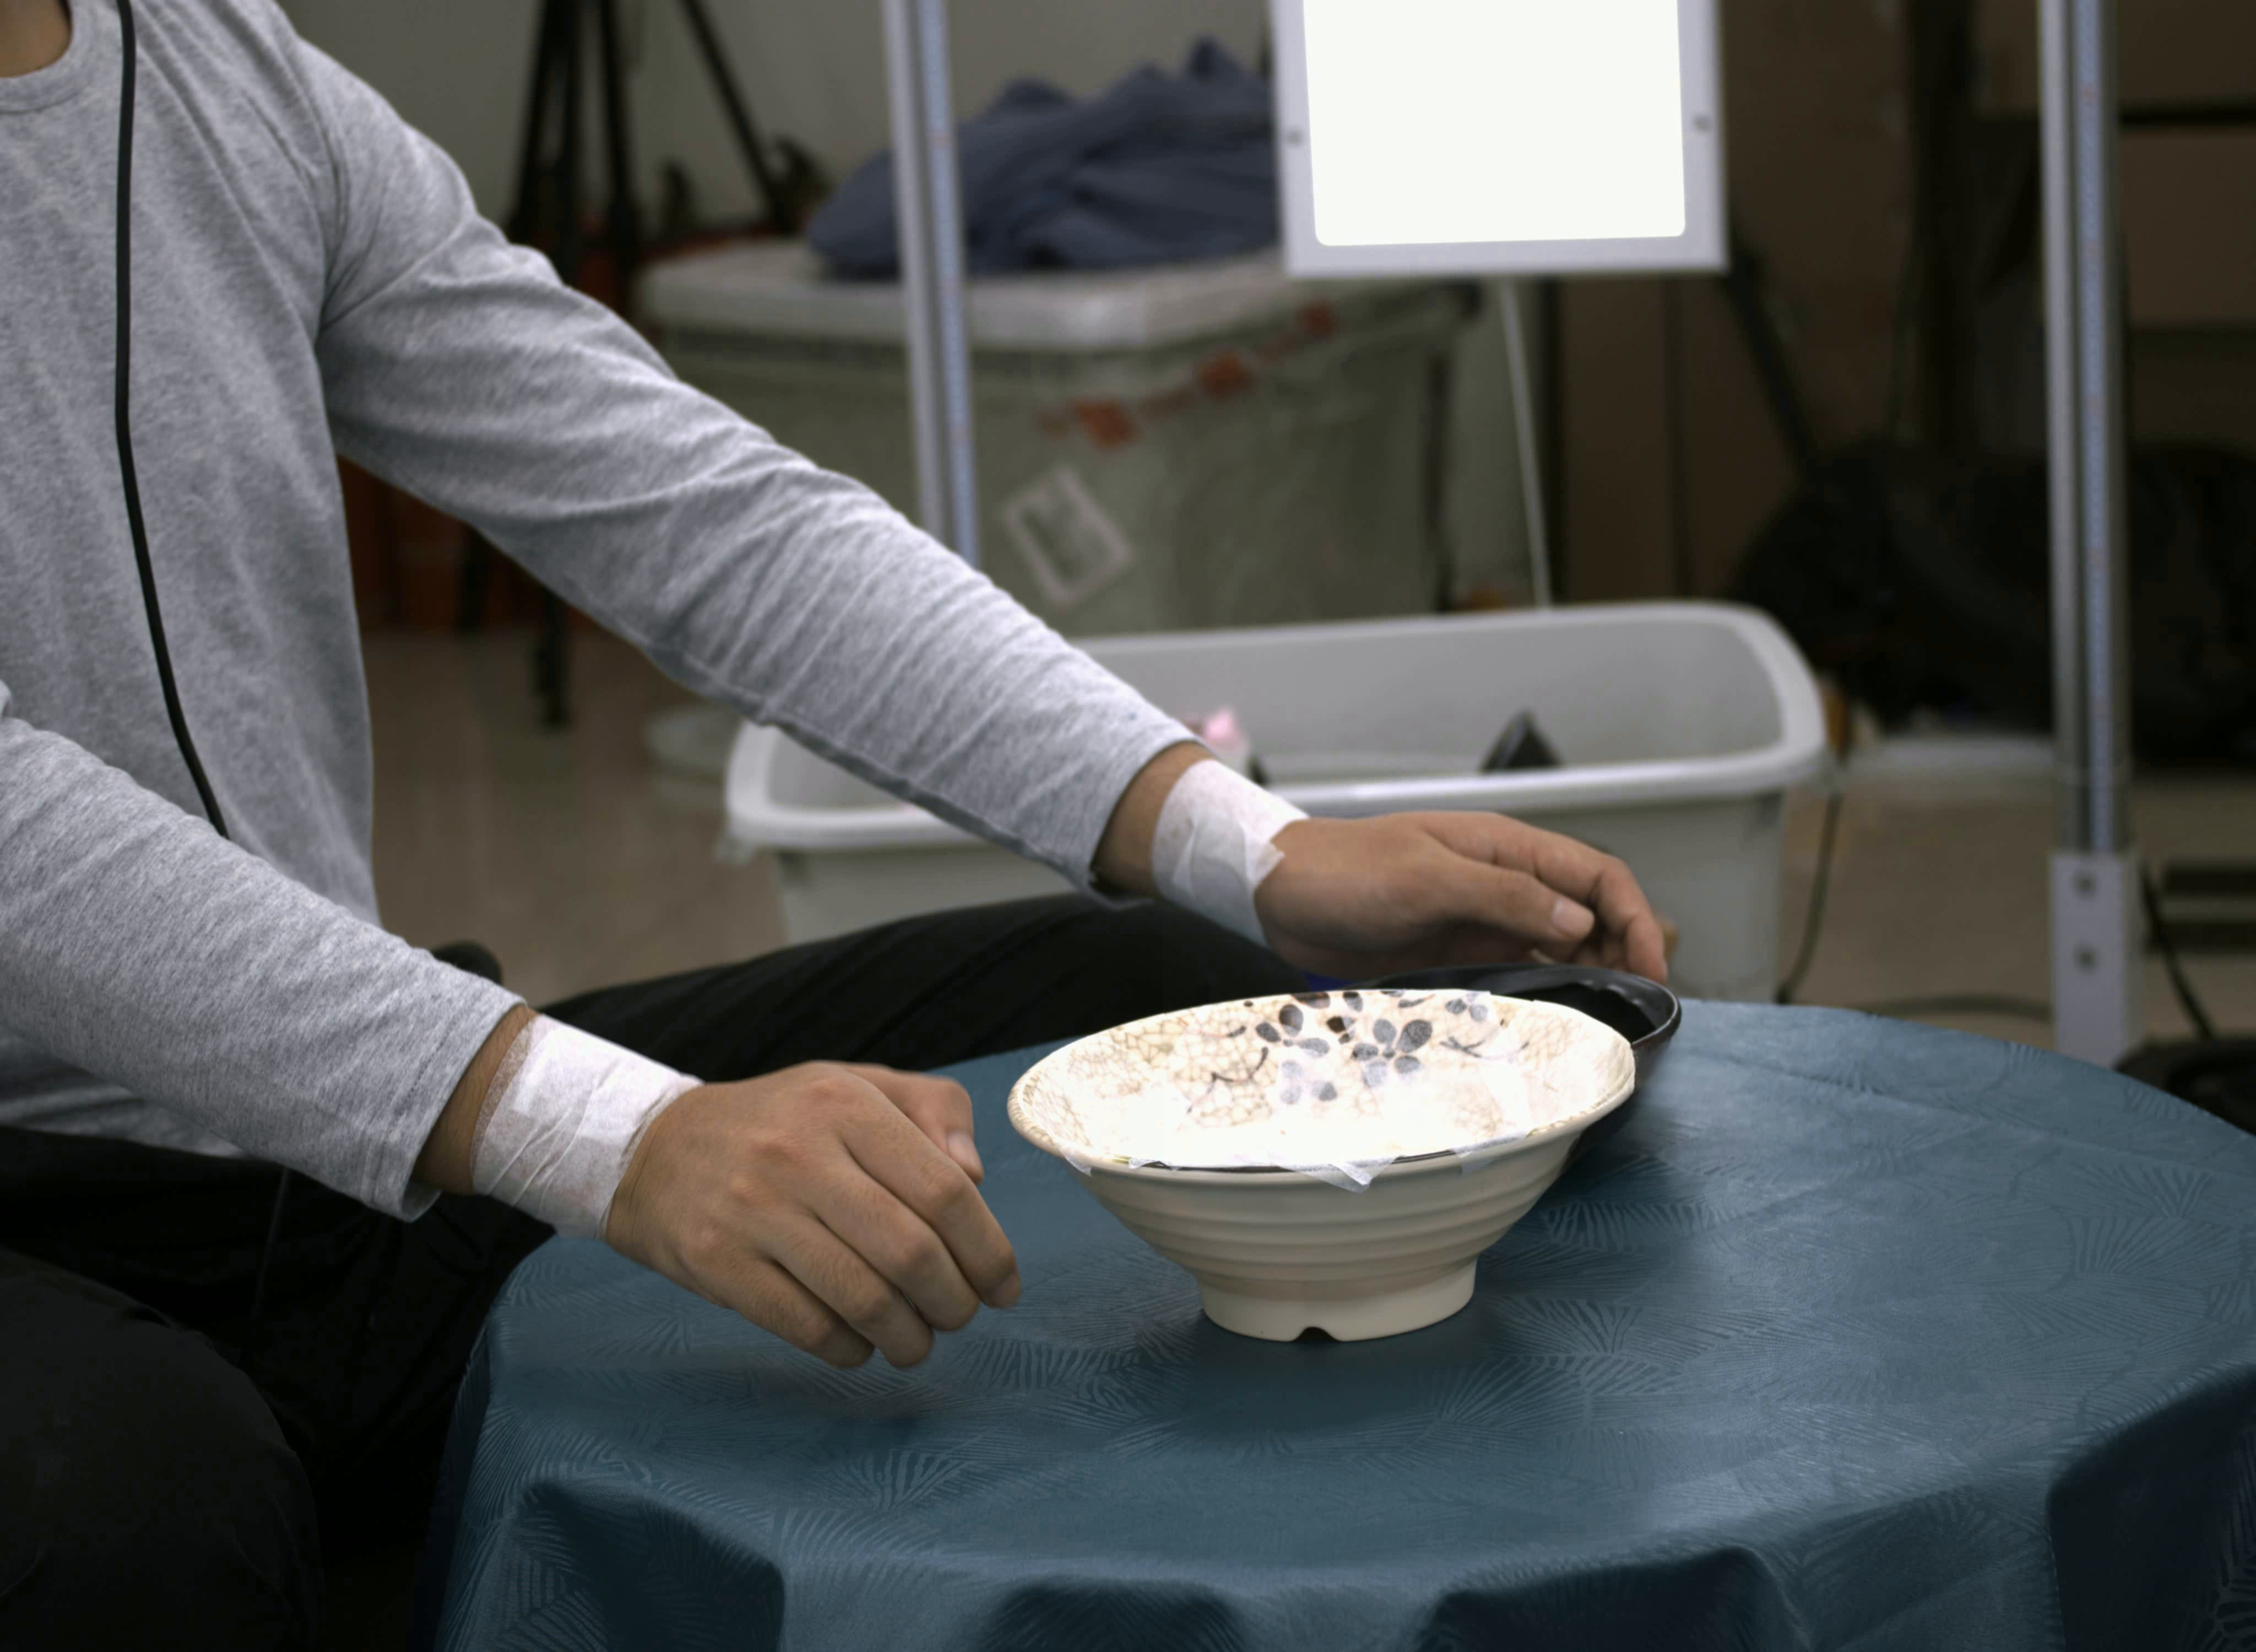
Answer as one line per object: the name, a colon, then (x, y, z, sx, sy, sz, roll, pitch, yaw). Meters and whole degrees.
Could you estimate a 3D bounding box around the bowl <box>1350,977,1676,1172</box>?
bowl: (0.125, 0.092, 1.910, 0.140, 0.050, 0.140, -9, 9, 0)

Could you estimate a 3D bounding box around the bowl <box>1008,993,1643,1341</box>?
bowl: (0.066, 0.115, 1.761, 0.203, 0.078, 0.204, -5, 12, 0)
